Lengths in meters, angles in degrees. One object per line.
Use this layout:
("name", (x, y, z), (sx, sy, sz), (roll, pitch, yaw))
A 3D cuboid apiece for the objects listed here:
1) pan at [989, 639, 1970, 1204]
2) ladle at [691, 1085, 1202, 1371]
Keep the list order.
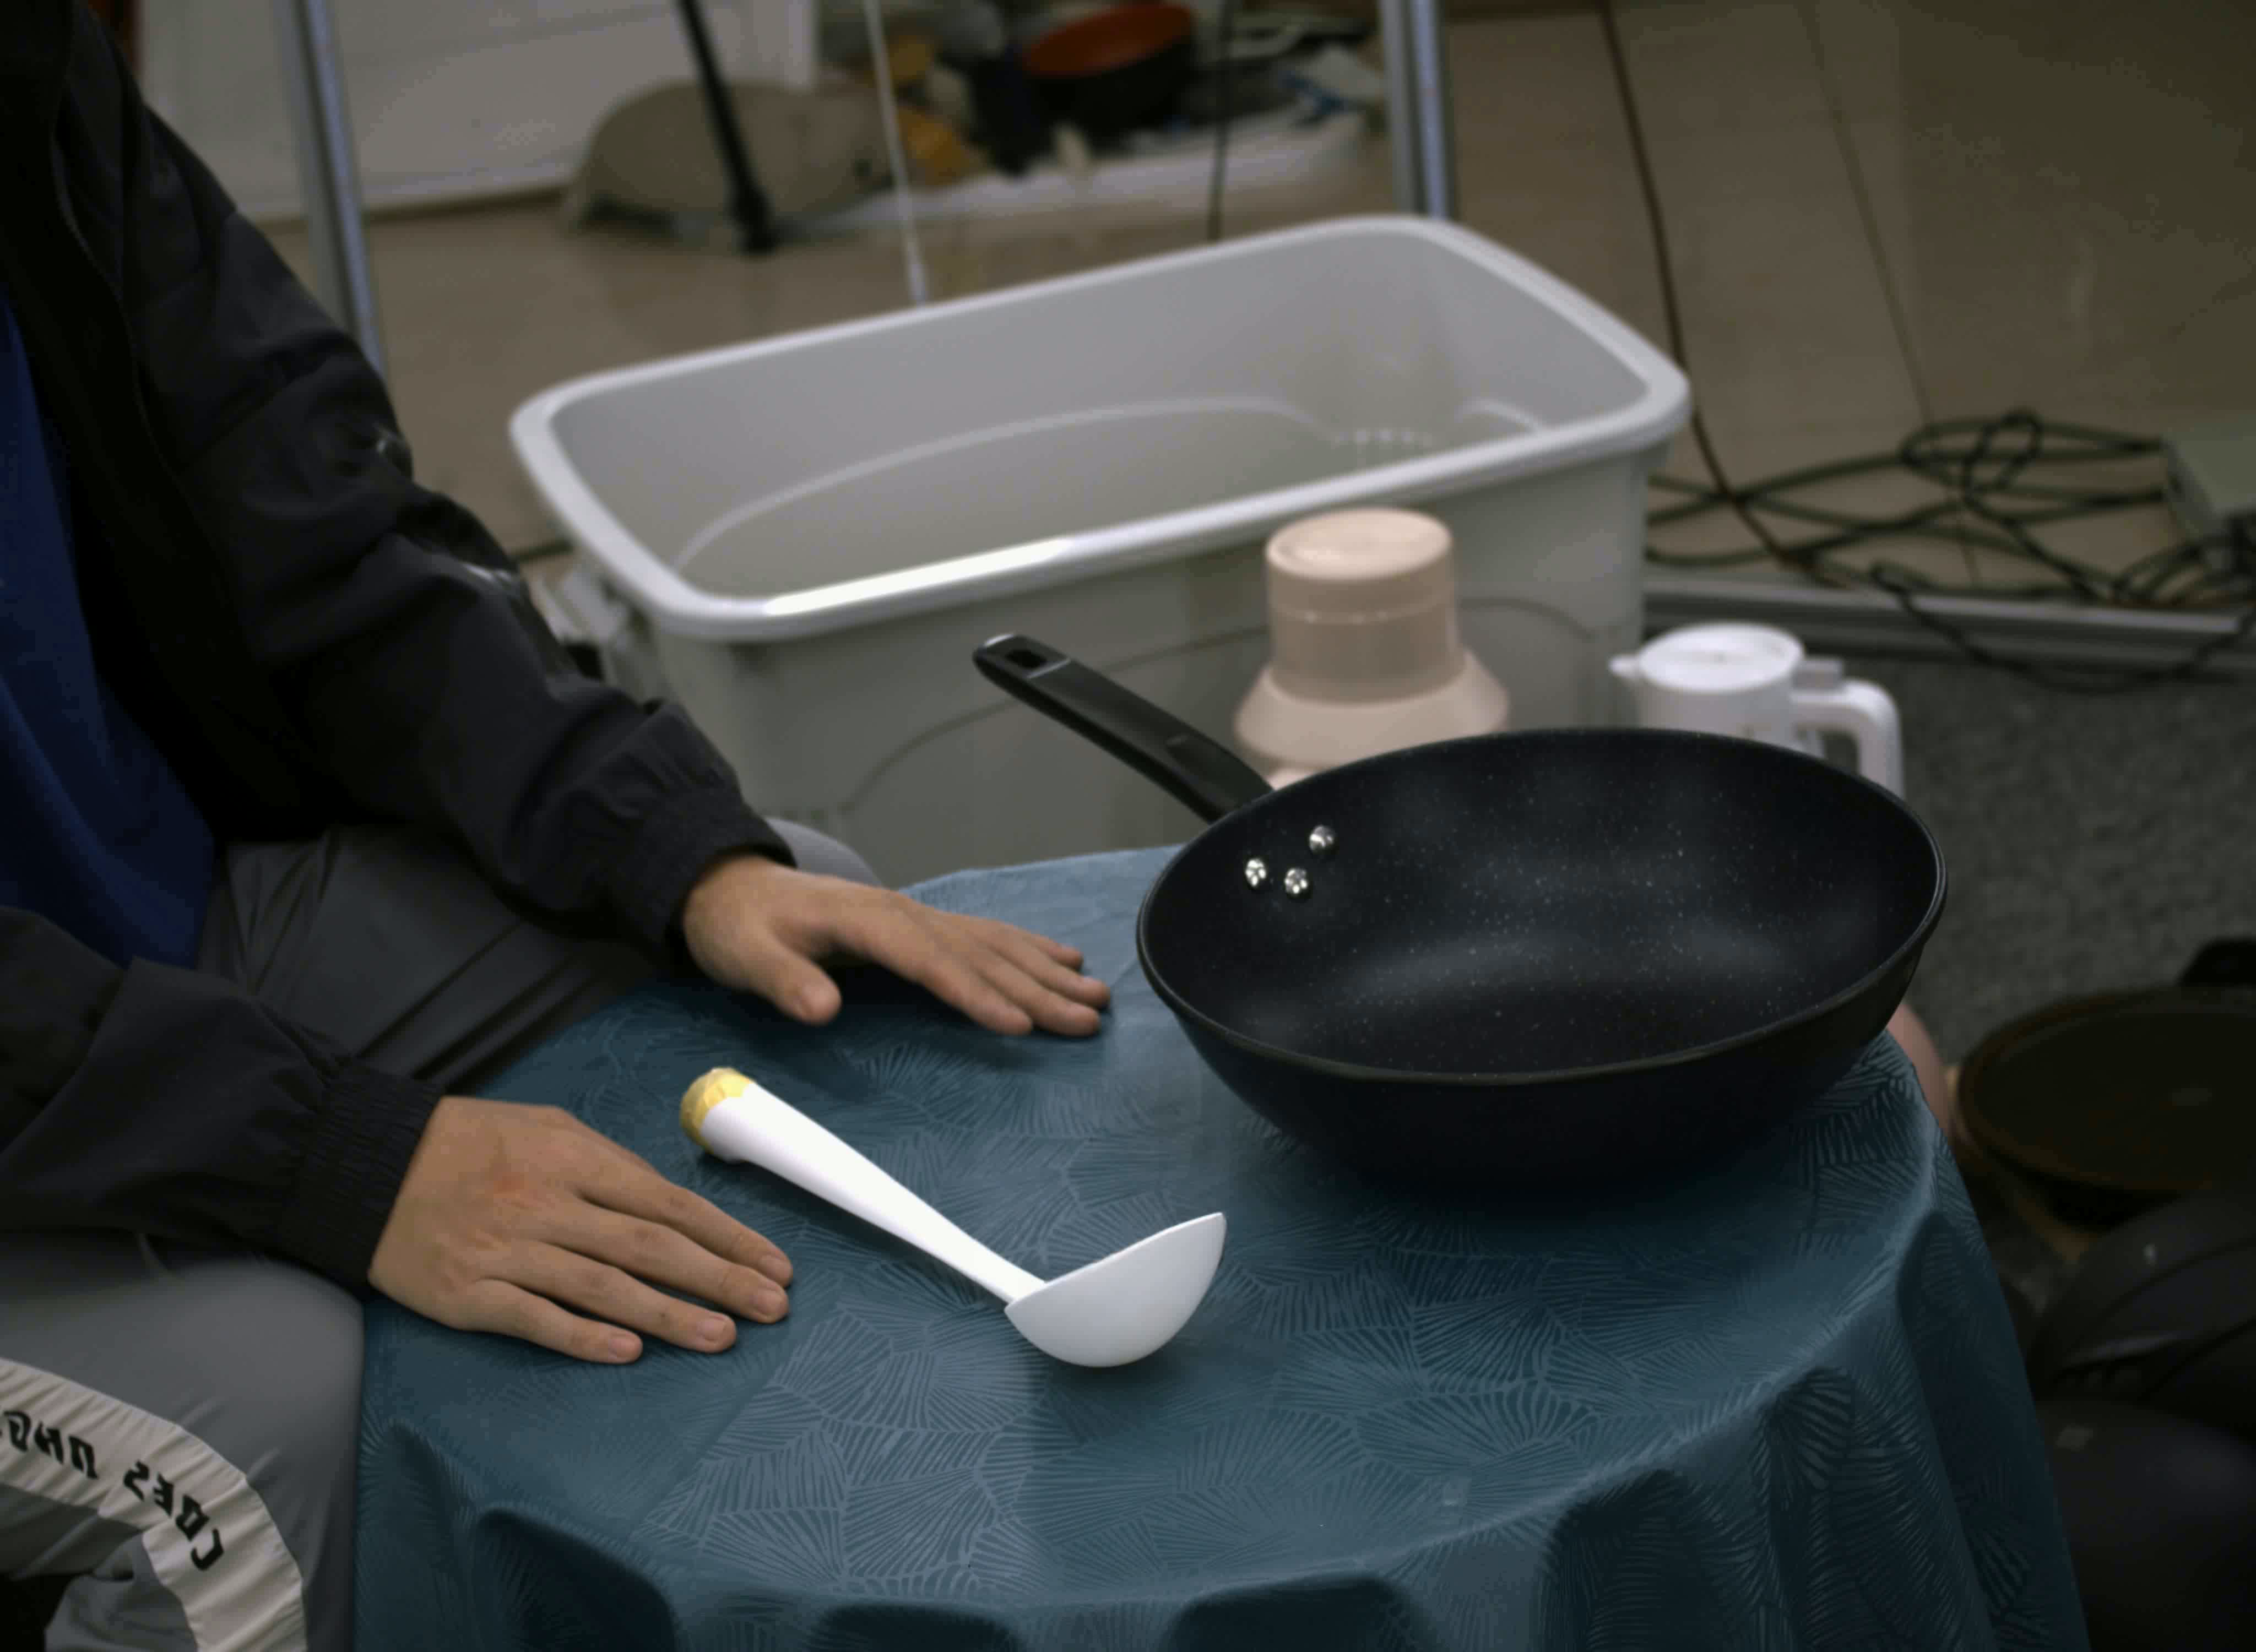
("pan", (0.109, 0.035, 2.218), (0.308, 0.113, 0.473), (-24, 30, -36))
("ladle", (-0.077, 0.135, 2.099), (0.089, 0.071, 0.290), (-25, 28, -28))
